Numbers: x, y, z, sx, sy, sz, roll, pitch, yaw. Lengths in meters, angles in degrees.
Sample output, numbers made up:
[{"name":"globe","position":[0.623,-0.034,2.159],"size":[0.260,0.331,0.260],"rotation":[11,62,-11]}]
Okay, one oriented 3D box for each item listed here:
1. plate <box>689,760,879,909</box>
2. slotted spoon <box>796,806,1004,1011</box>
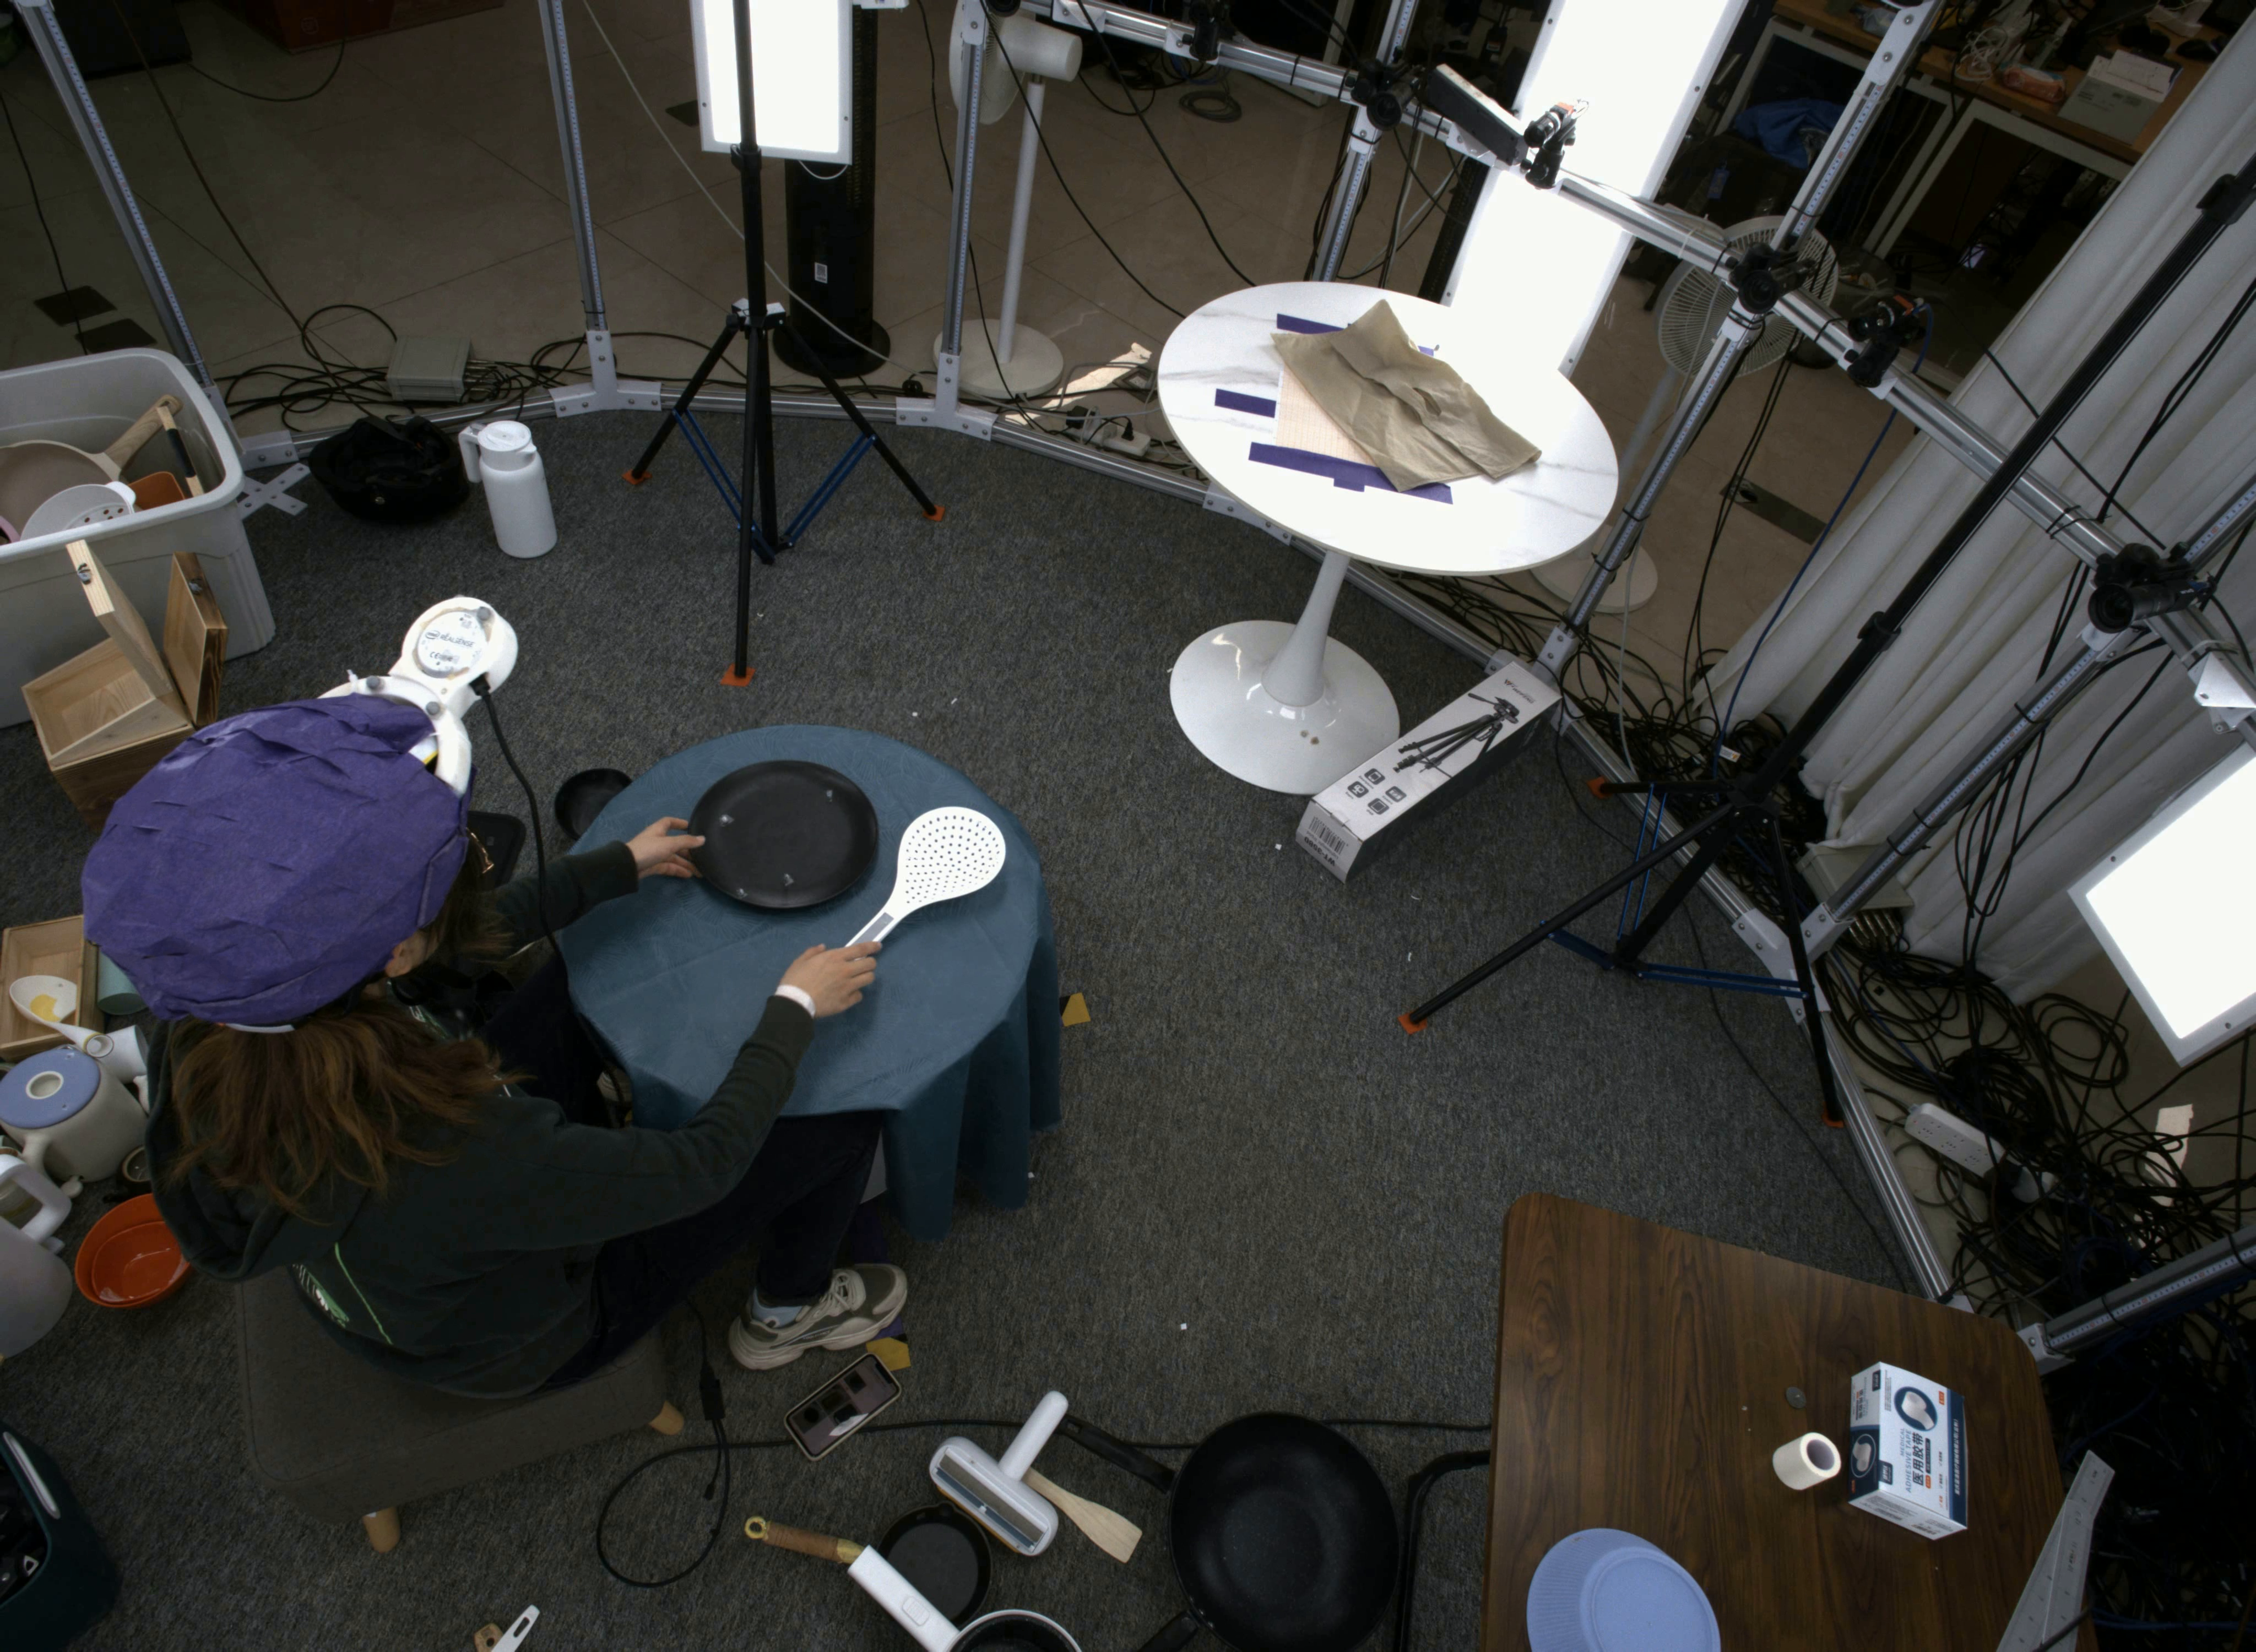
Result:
[{"name":"plate","position":[-0.450,0.012,1.699],"size":[0.244,0.024,0.240],"rotation":[8,52,-9]},{"name":"slotted spoon","position":[-0.292,0.102,1.657],"size":[0.133,0.047,0.349],"rotation":[33,54,14]}]
